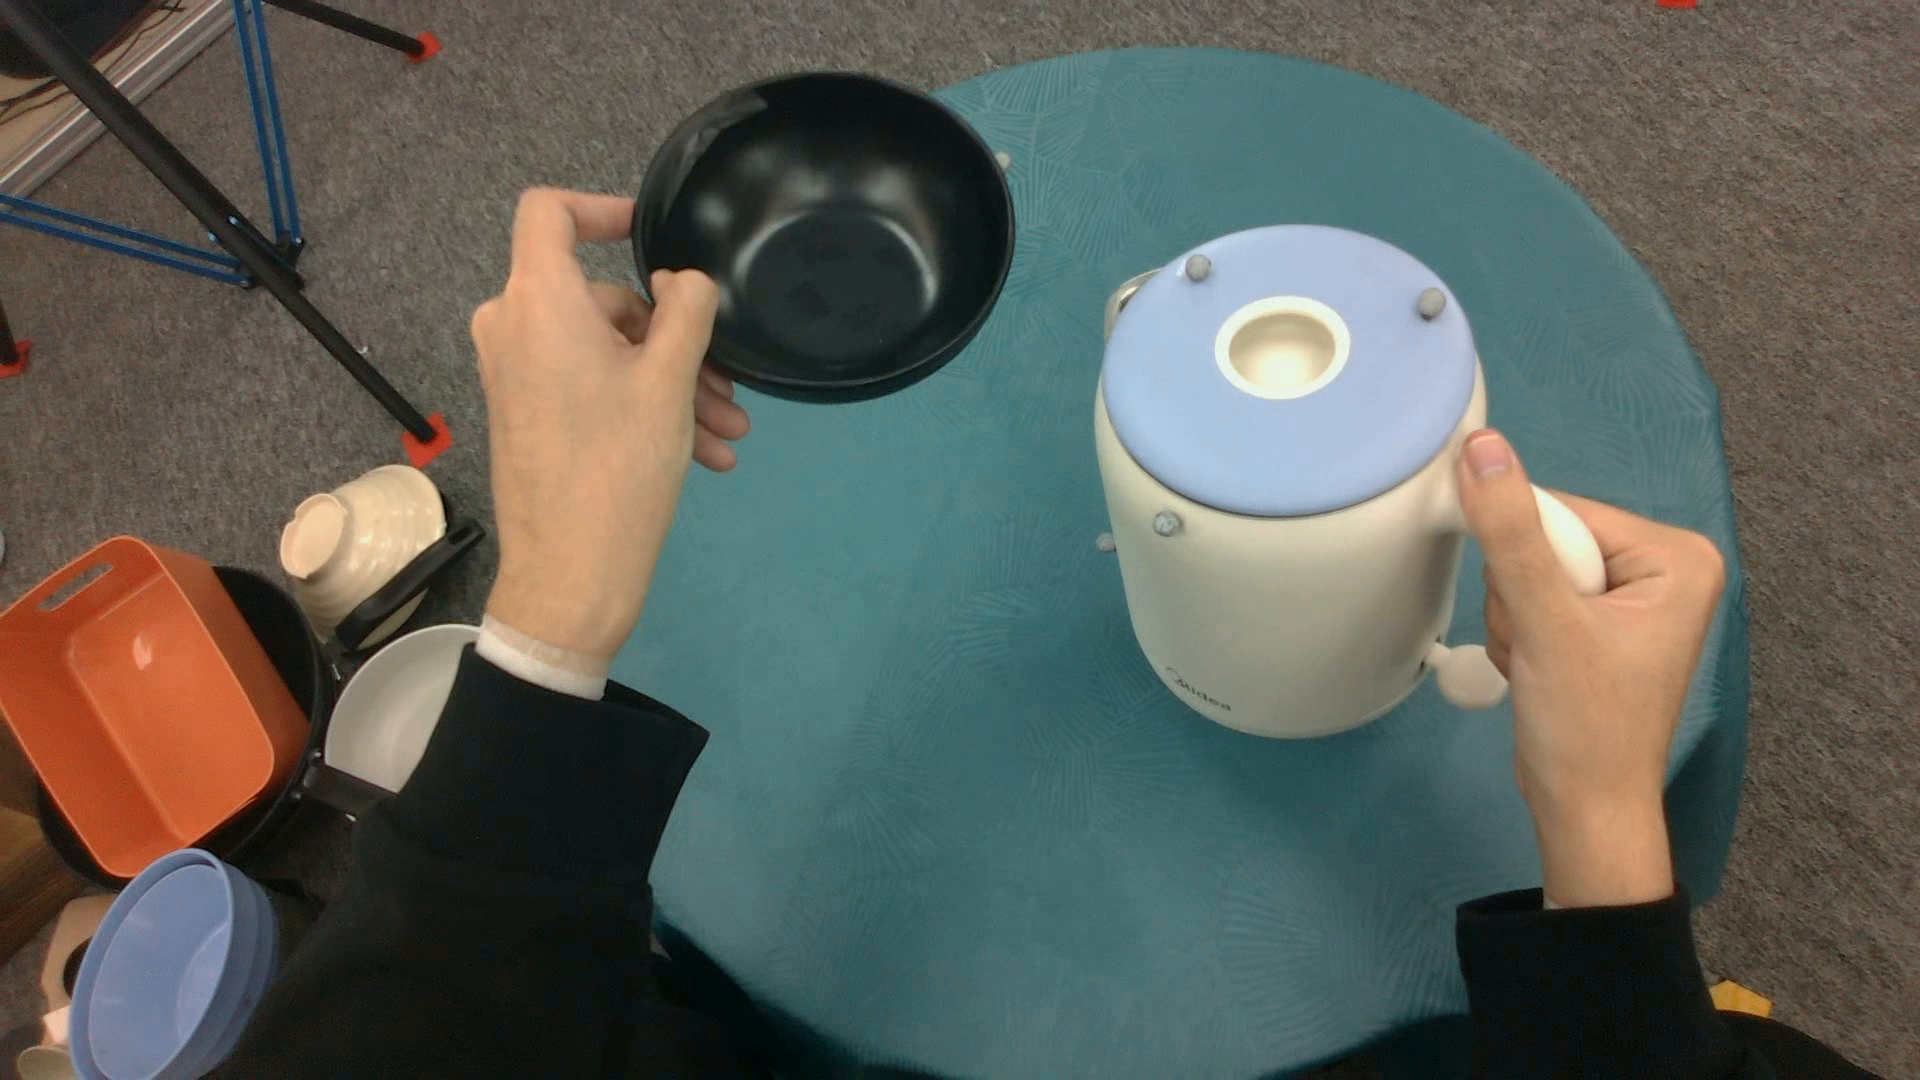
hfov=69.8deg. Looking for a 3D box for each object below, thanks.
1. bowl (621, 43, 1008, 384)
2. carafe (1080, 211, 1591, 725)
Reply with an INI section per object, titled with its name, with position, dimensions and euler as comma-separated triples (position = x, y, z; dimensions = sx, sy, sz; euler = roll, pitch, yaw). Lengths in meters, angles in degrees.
[bowl]
position = -0.053, -0.115, 0.516
dimensions = 0.140, 0.049, 0.140
euler = 1, 69, -3
[carafe]
position = 0.135, -0.010, 0.511
dimensions = 0.191, 0.182, 0.132
euler = 29, 69, 24
